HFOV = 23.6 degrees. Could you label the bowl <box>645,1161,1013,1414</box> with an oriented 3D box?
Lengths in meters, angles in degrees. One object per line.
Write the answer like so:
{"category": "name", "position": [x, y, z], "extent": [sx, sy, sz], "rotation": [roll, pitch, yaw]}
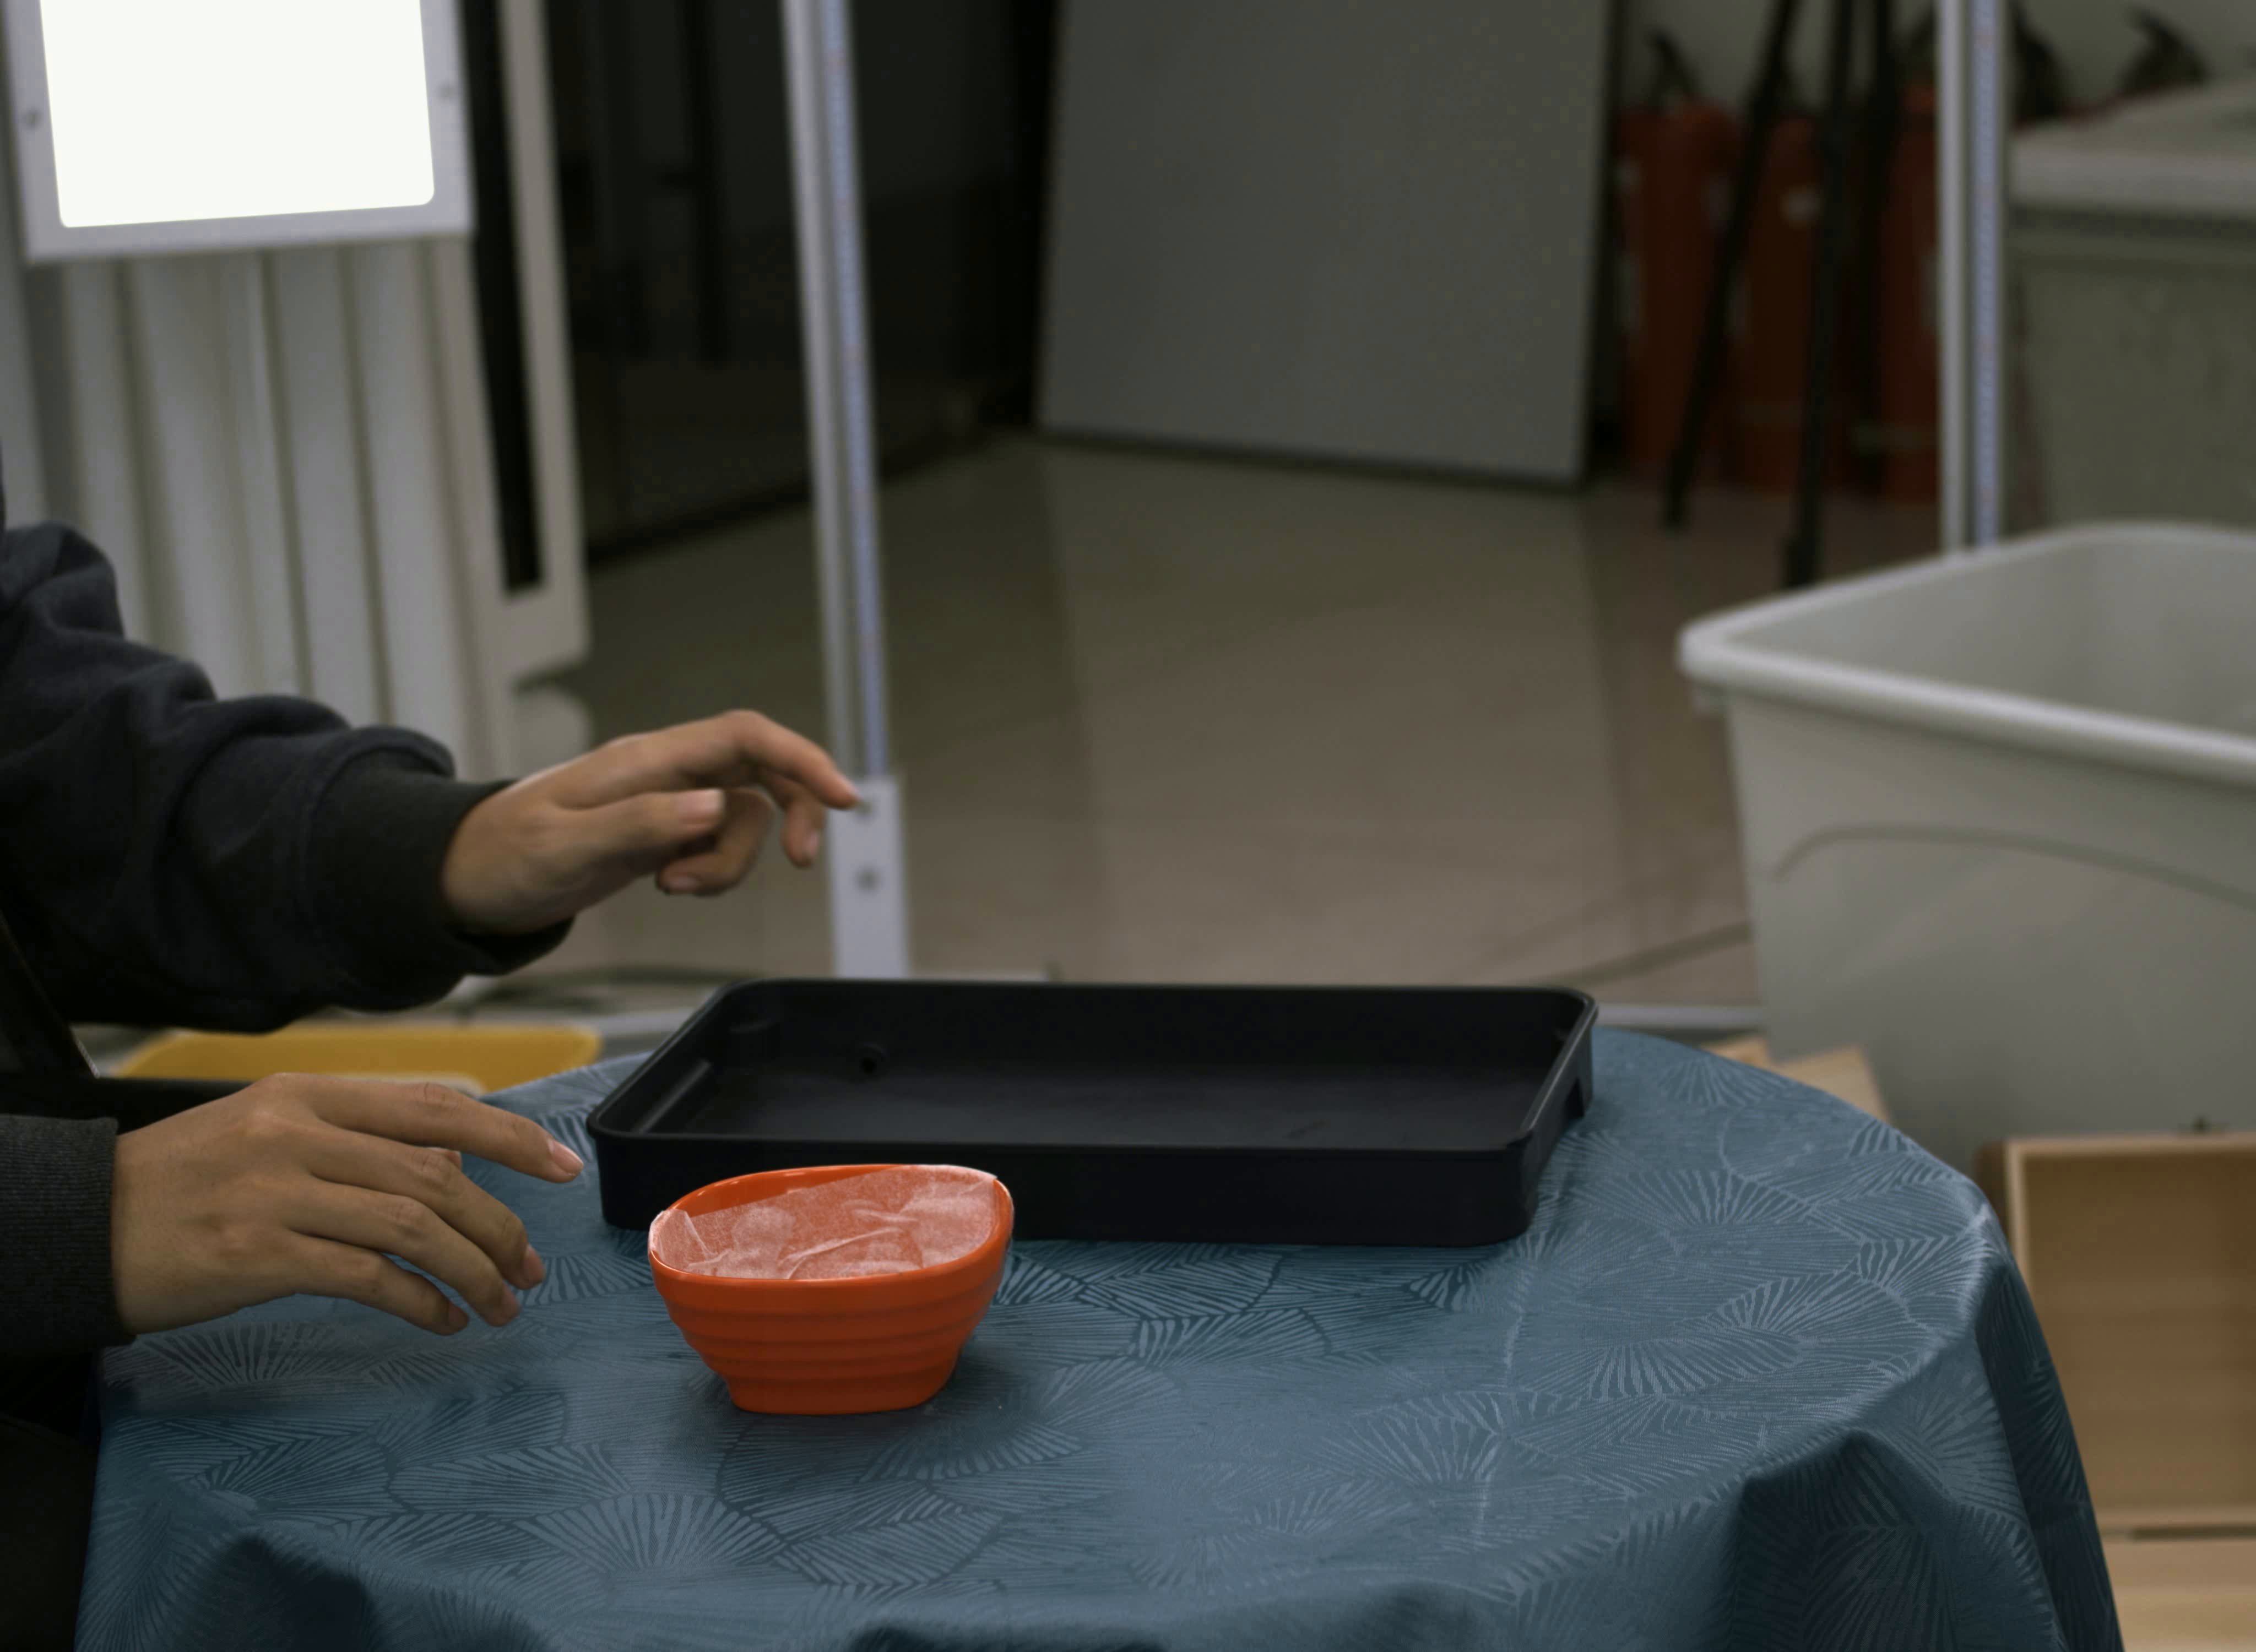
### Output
{"category": "bowl", "position": [-0.087, 0.139, 1.604], "extent": [0.117, 0.052, 0.119], "rotation": [-3, 13, 0]}

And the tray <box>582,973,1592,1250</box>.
{"category": "tray", "position": [-0.010, 0.093, 1.804], "extent": [0.316, 0.037, 0.183], "rotation": [1, 14, 15]}
